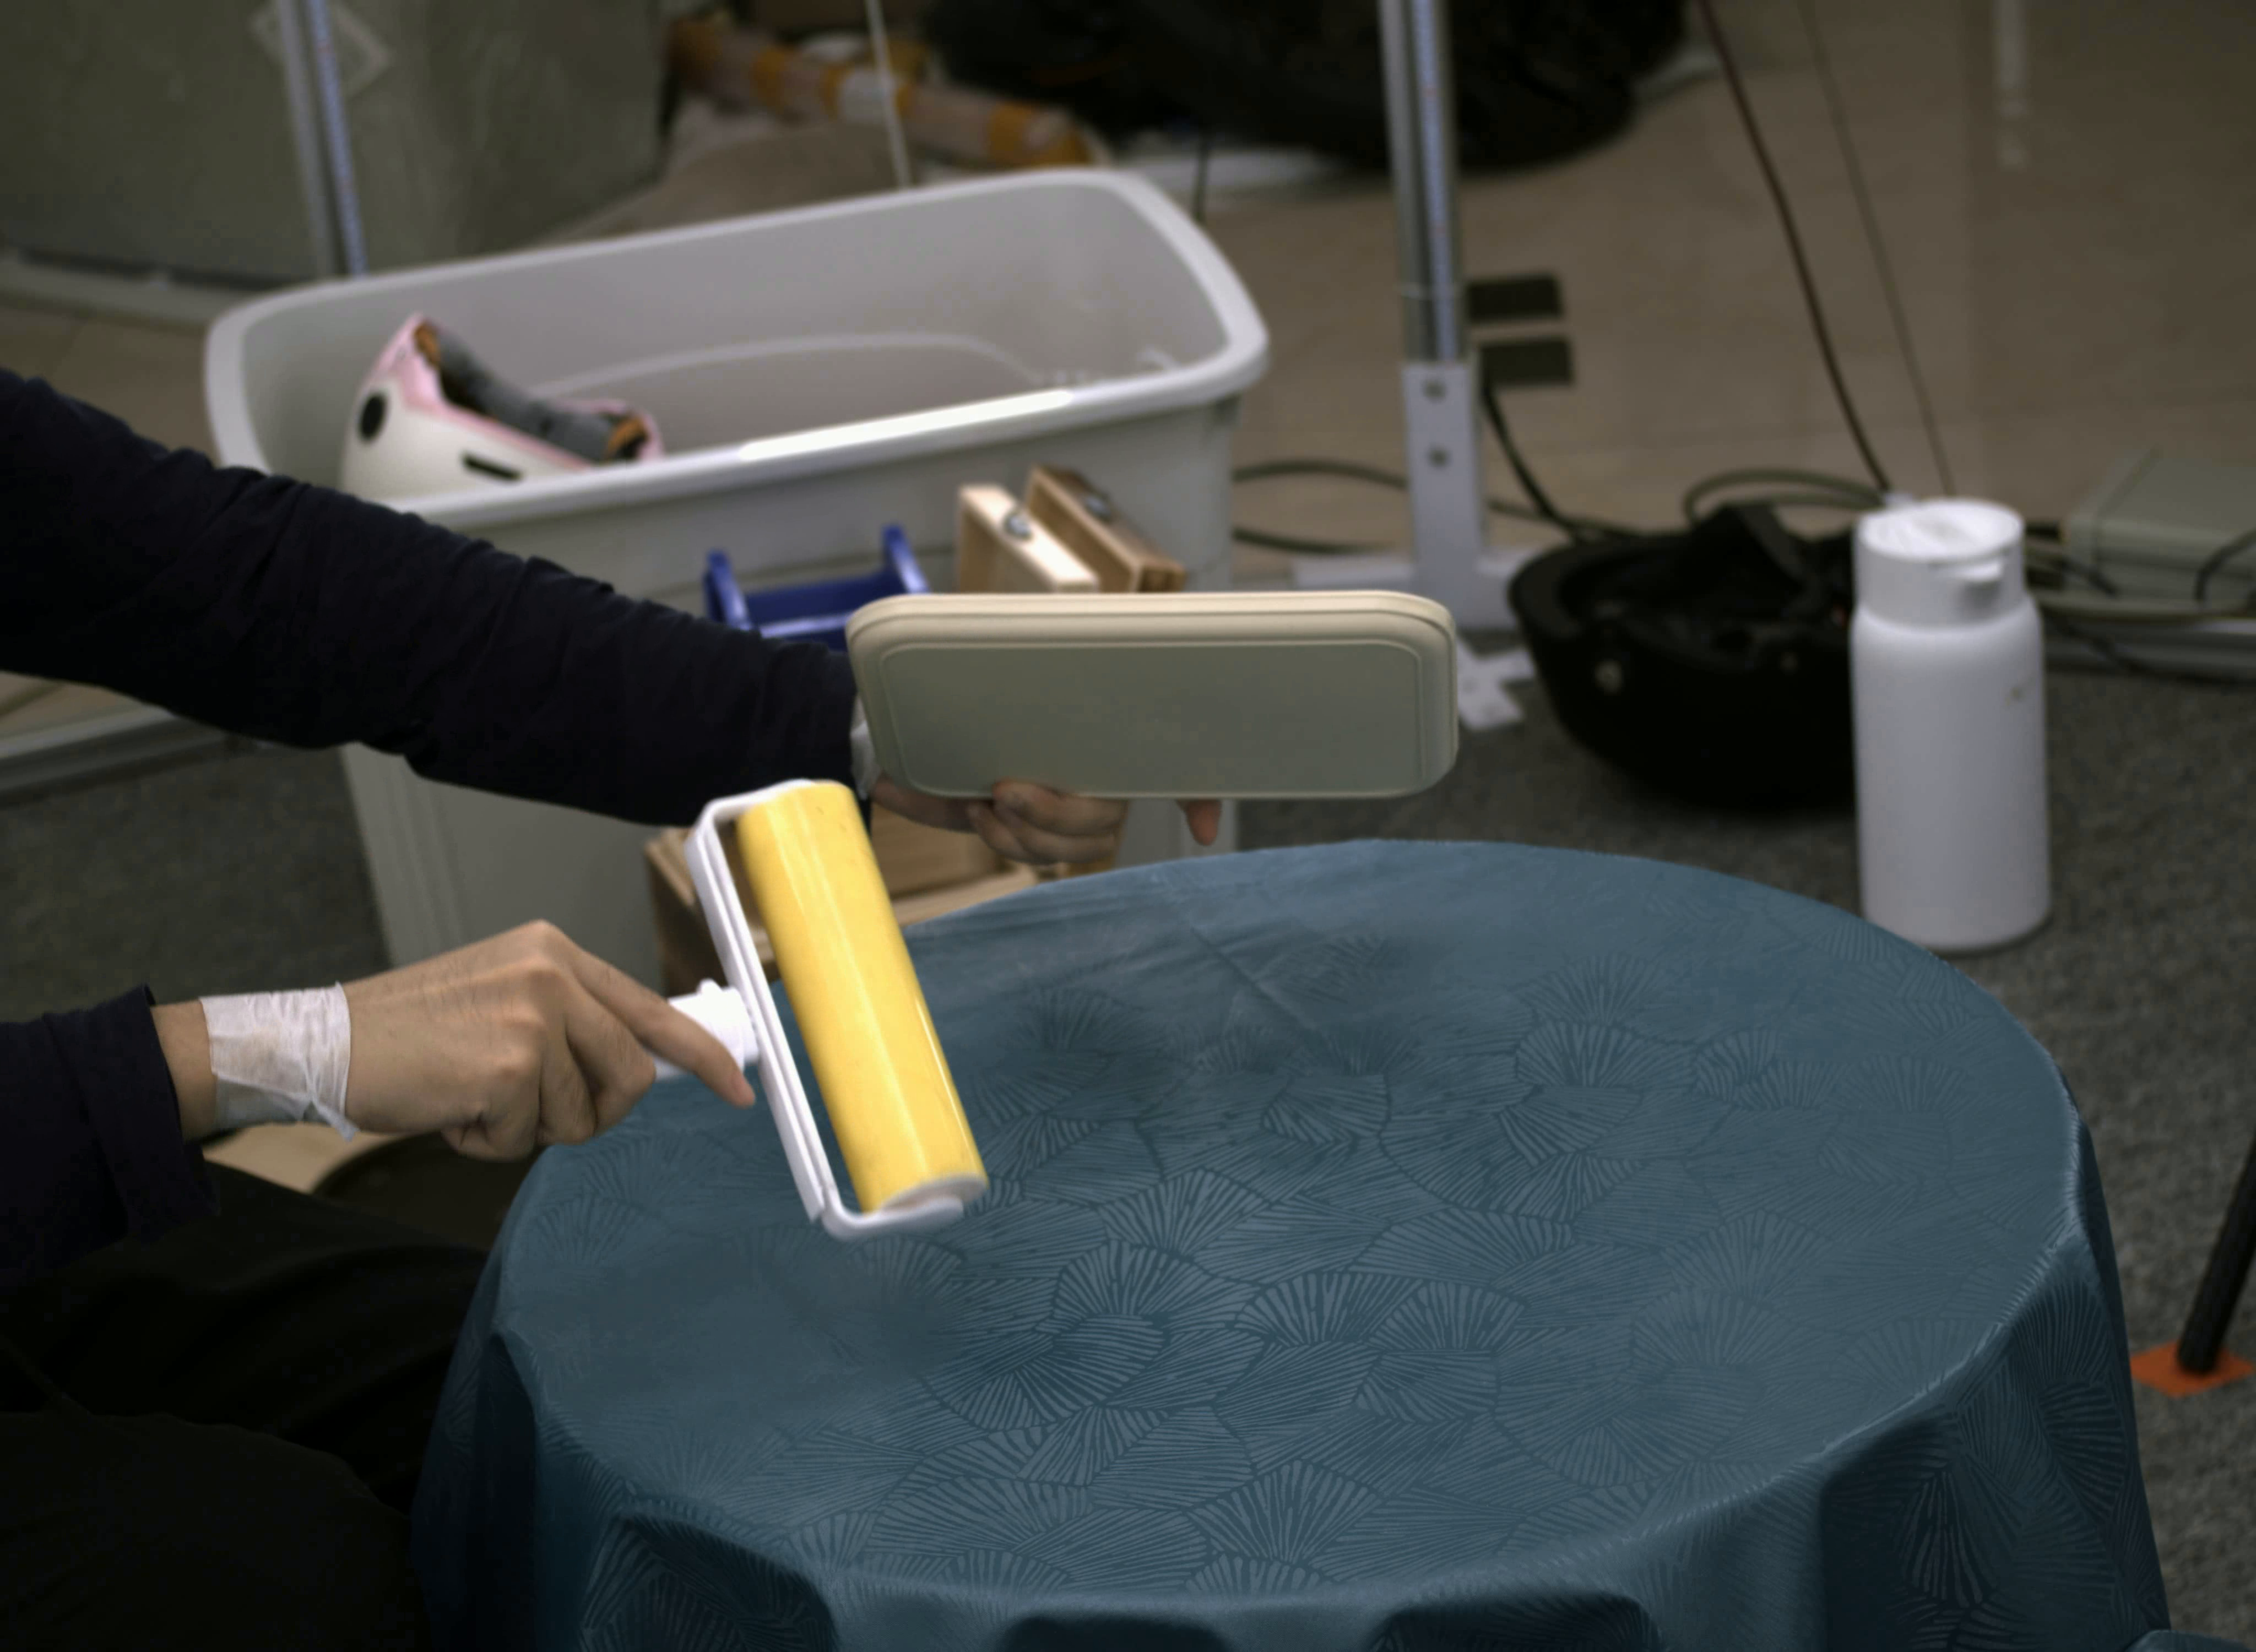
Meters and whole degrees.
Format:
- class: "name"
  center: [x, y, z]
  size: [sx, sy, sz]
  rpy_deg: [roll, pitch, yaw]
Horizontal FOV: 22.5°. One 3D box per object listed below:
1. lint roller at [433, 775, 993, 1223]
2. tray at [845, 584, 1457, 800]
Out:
- class: "lint roller"
  center: [-0.158, 0.071, 2.037]
  size: [0.191, 0.052, 0.172]
  rpy_deg: [-8, 67, -38]
- class: "tray"
  center: [0.011, -0.050, 2.245]
  size: [0.239, 0.174, 0.017]
  rpy_deg: [0, 65, 4]
